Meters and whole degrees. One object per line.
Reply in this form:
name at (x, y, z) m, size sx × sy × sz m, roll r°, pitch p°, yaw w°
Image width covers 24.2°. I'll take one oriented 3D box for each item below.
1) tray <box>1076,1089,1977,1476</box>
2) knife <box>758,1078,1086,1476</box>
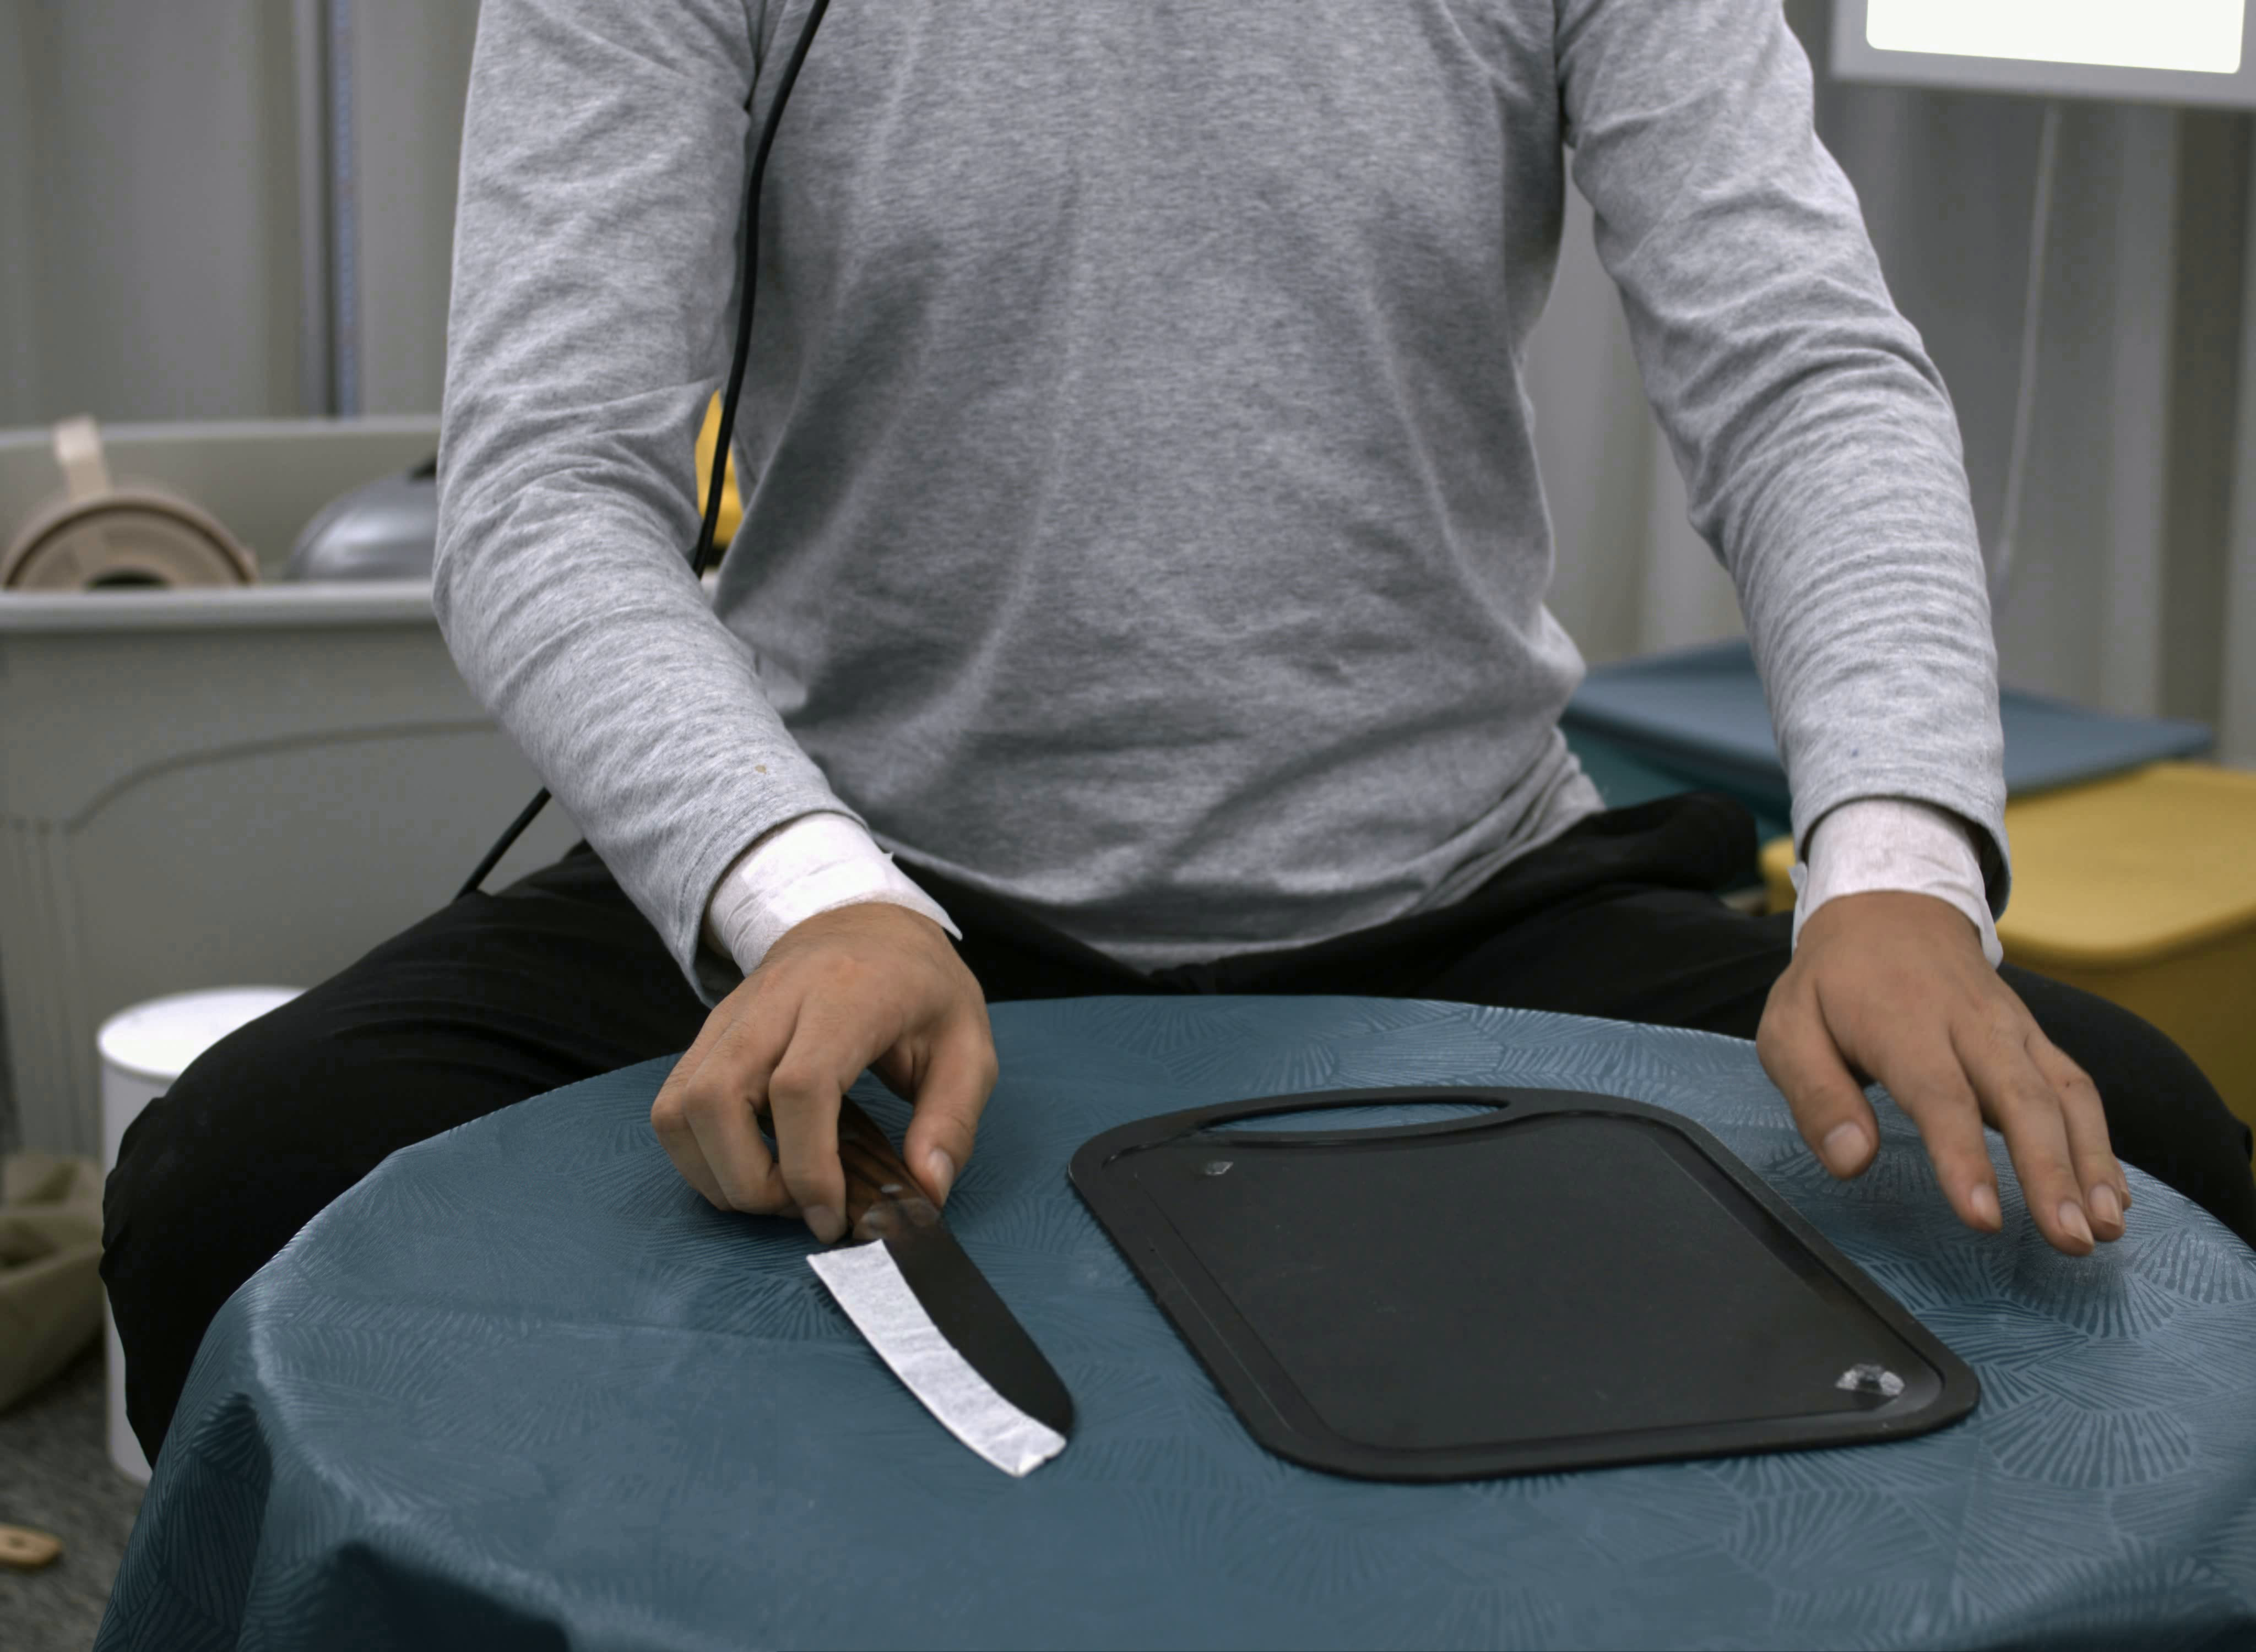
tray at (0.107, 0.127, 1.564) m, size 0.211 × 0.010 × 0.322 m, roll -3°, pitch 15°, yaw -13°
knife at (-0.065, 0.130, 1.532) m, size 0.050 × 0.020 × 0.286 m, roll -9°, pitch 20°, yaw -14°
